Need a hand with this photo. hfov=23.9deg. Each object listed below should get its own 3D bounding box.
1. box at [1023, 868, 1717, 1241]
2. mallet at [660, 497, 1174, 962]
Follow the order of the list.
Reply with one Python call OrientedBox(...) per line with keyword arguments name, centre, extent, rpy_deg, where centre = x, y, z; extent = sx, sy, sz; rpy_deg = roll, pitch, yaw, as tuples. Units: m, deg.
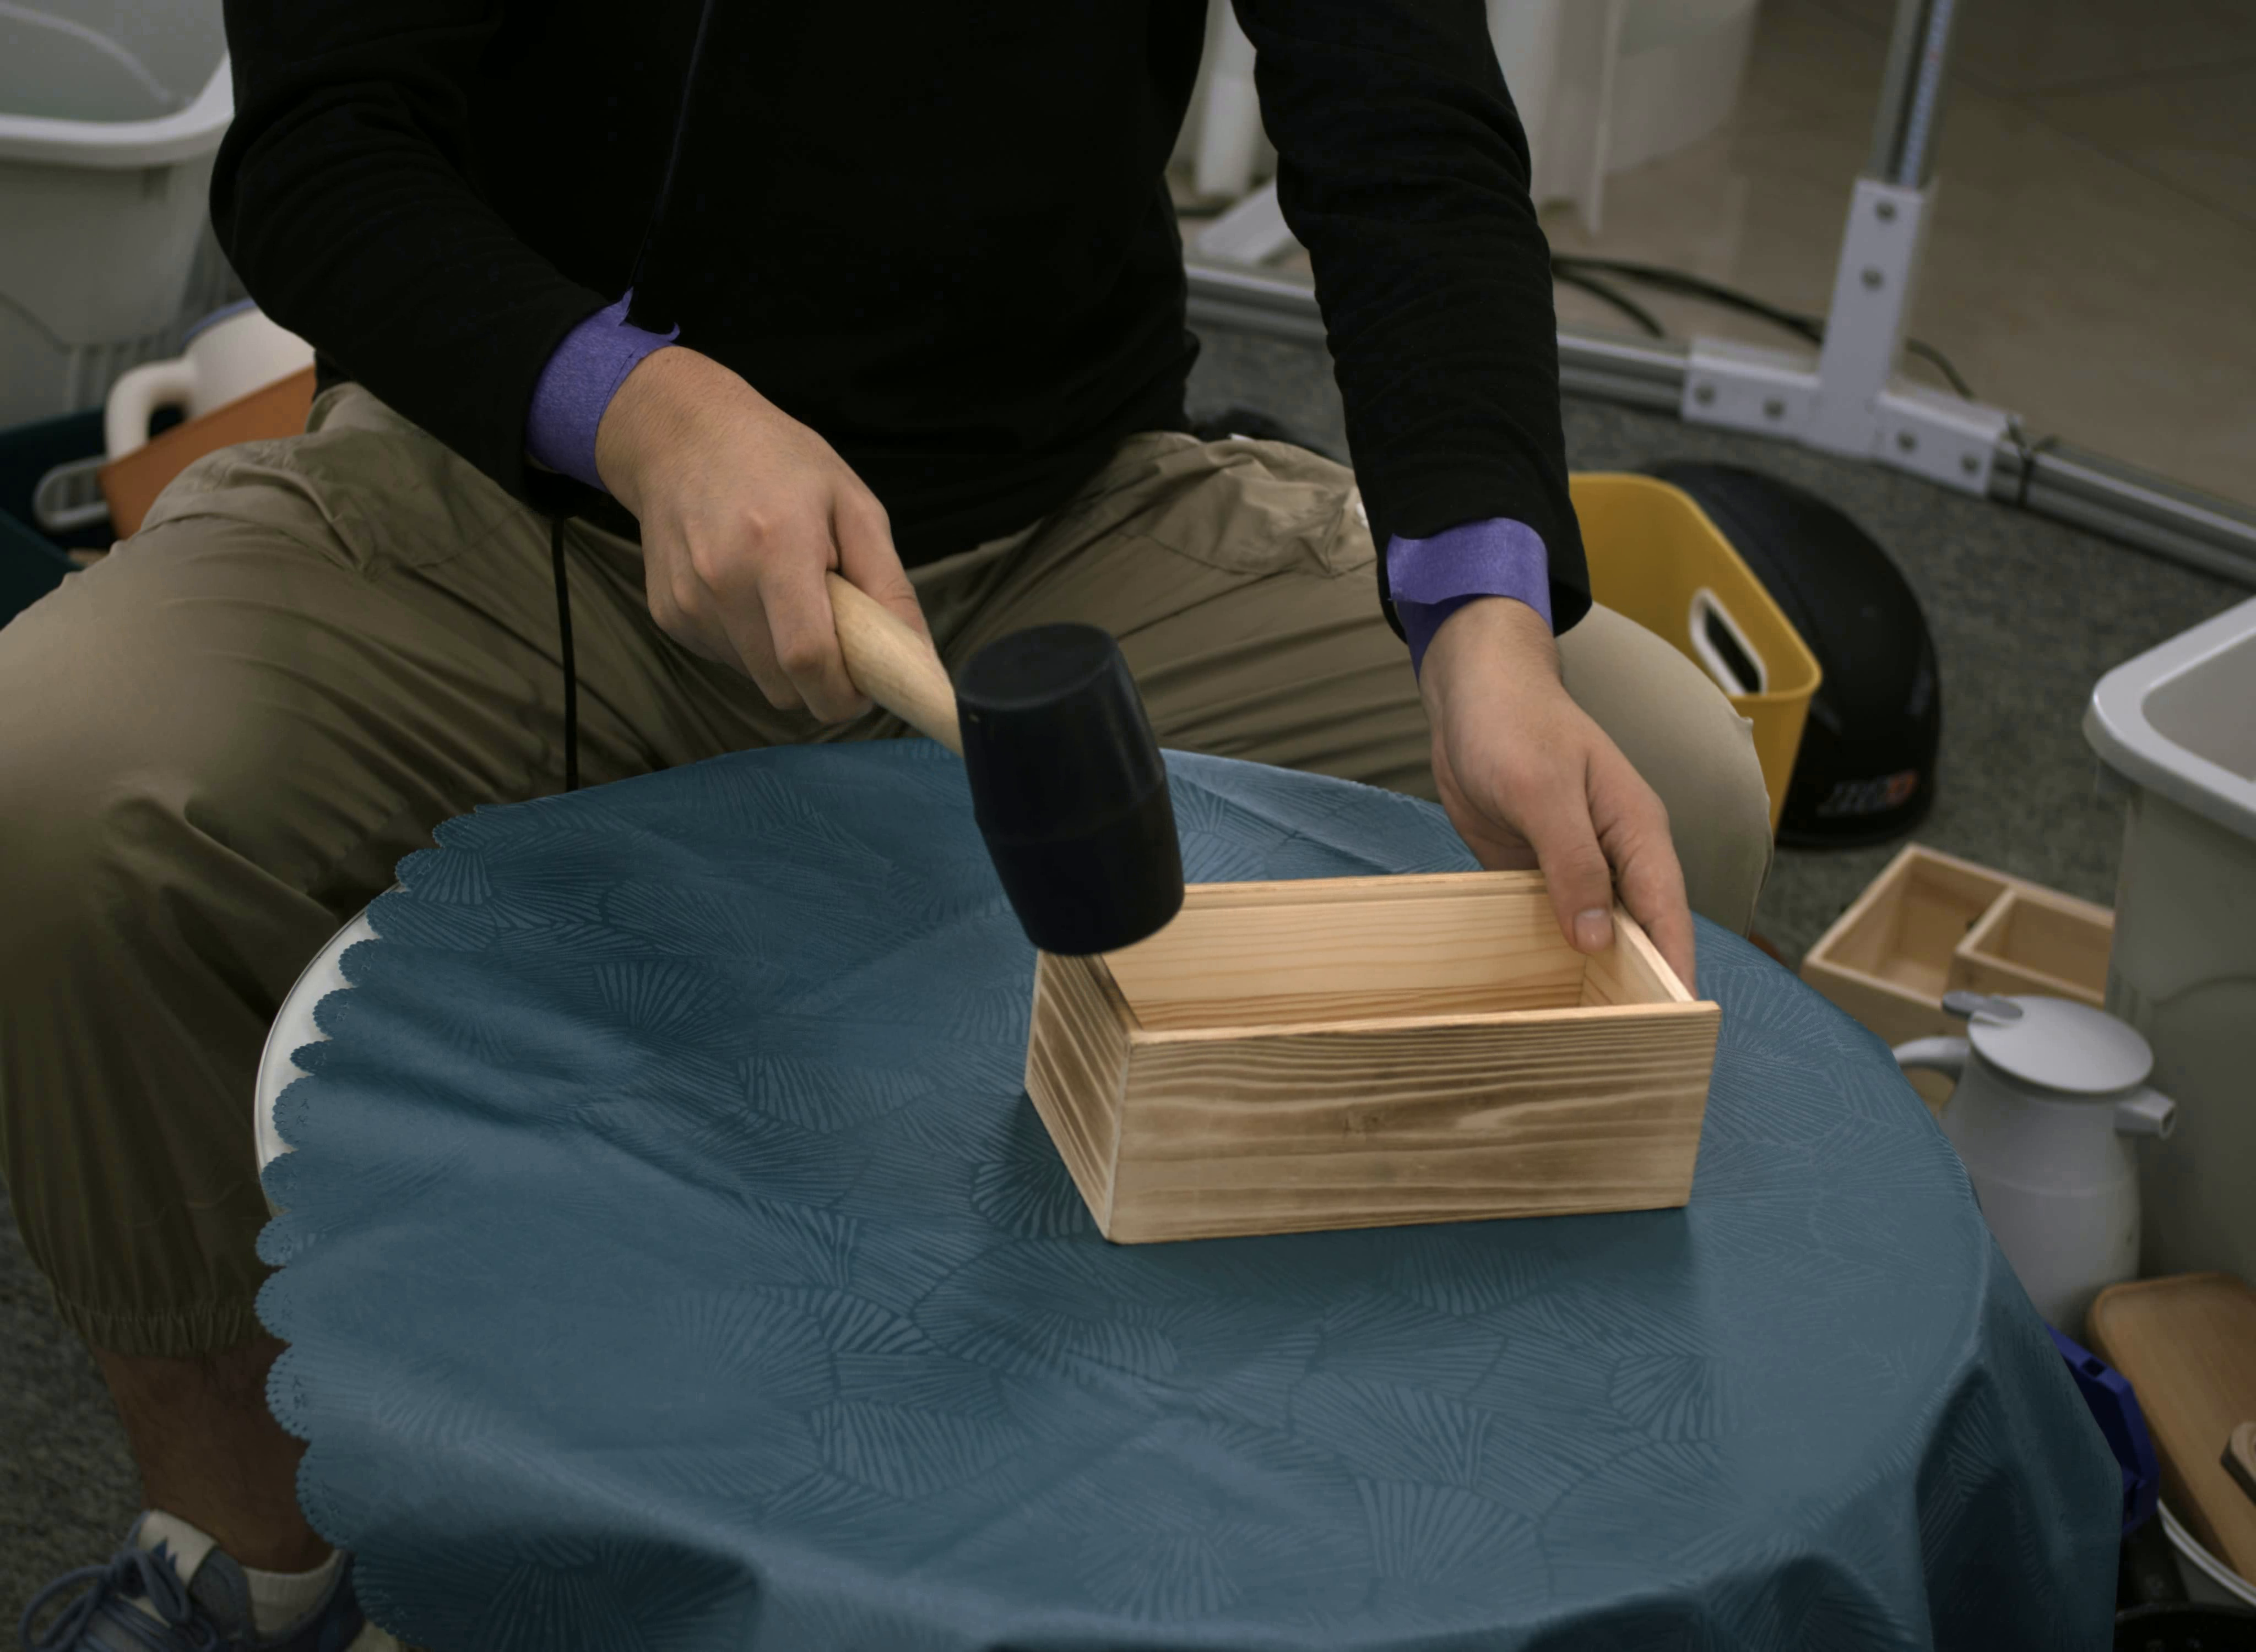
OrientedBox(name="box", centre=(0.081, 0.077, 1.828), extent=(0.210, 0.080, 0.108), rpy_deg=(-2, 27, -17))
OrientedBox(name="mallet", centre=(-0.078, -0.058, 1.859), extent=(0.064, 0.101, 0.342), rpy_deg=(-19, 27, -19))
